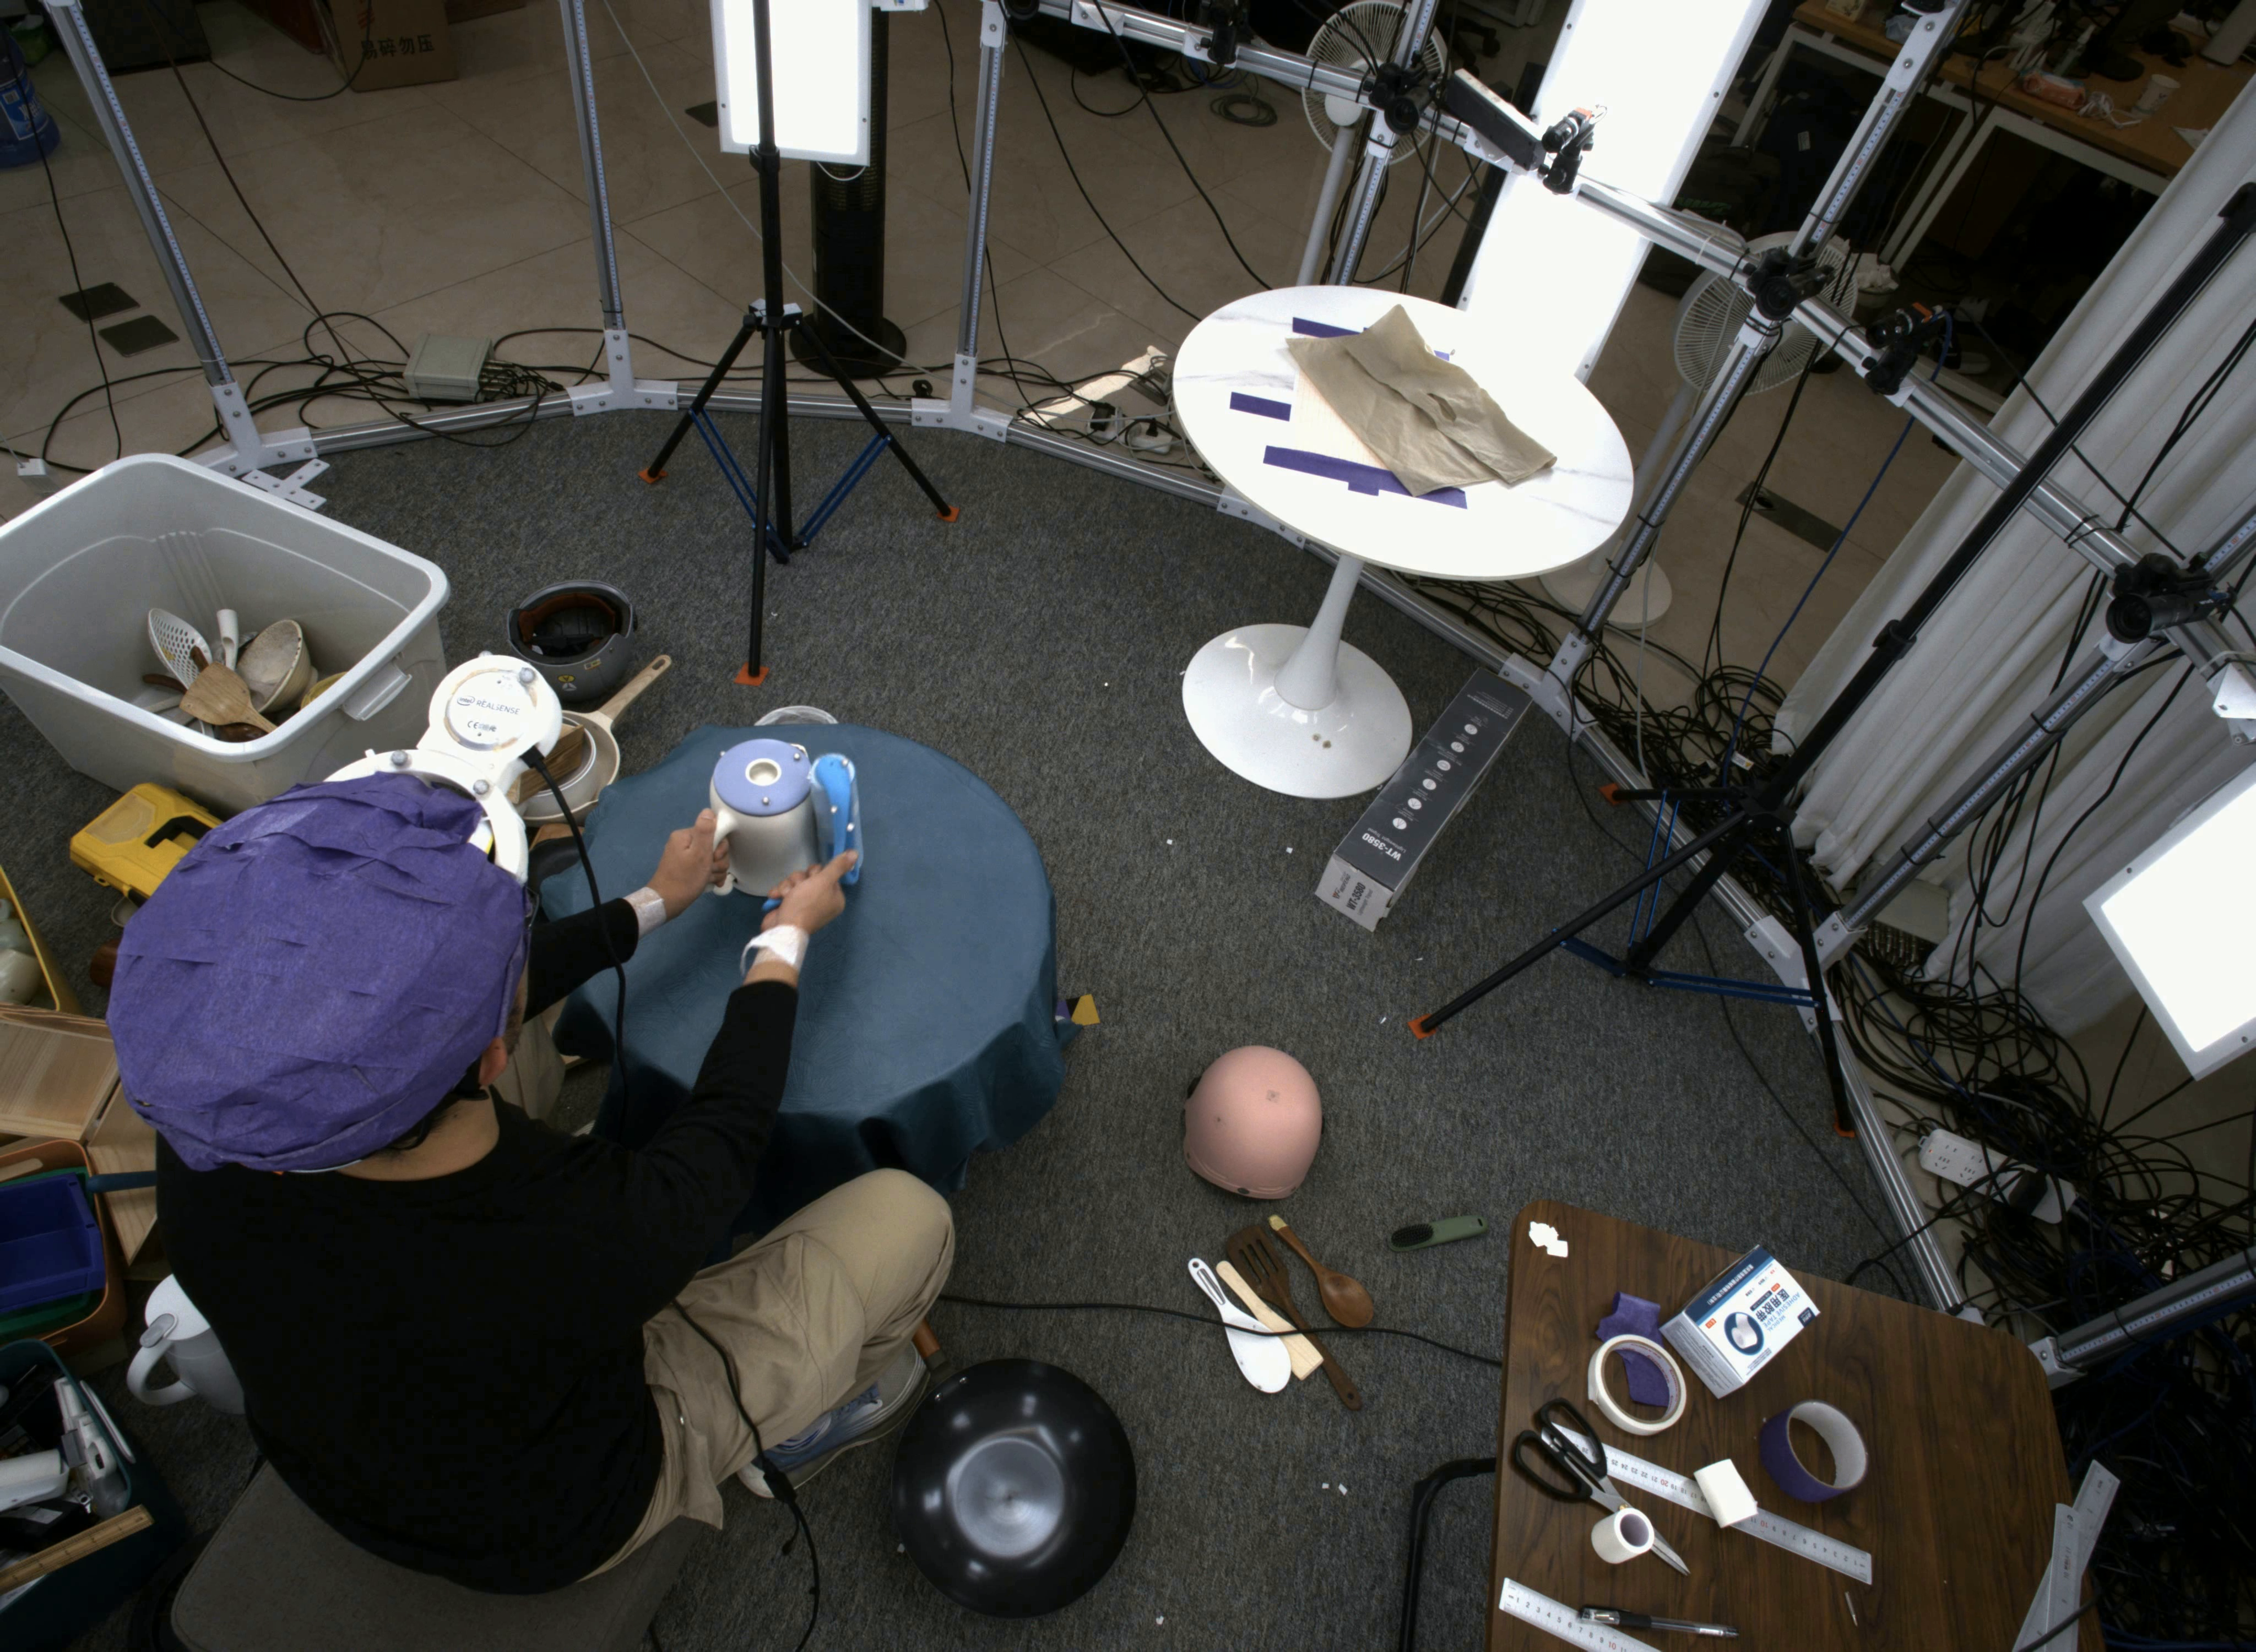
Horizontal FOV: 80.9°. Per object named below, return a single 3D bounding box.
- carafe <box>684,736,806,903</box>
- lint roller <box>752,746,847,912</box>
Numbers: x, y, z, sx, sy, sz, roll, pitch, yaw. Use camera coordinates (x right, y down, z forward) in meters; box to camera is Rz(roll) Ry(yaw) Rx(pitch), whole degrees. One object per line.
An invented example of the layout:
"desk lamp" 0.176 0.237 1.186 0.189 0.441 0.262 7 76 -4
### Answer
"carafe" -0.479 0.005 1.589 0.130 0.186 0.190 29 54 11
"lint roller" -0.387 0.031 1.554 0.067 0.233 0.178 15 59 -1
